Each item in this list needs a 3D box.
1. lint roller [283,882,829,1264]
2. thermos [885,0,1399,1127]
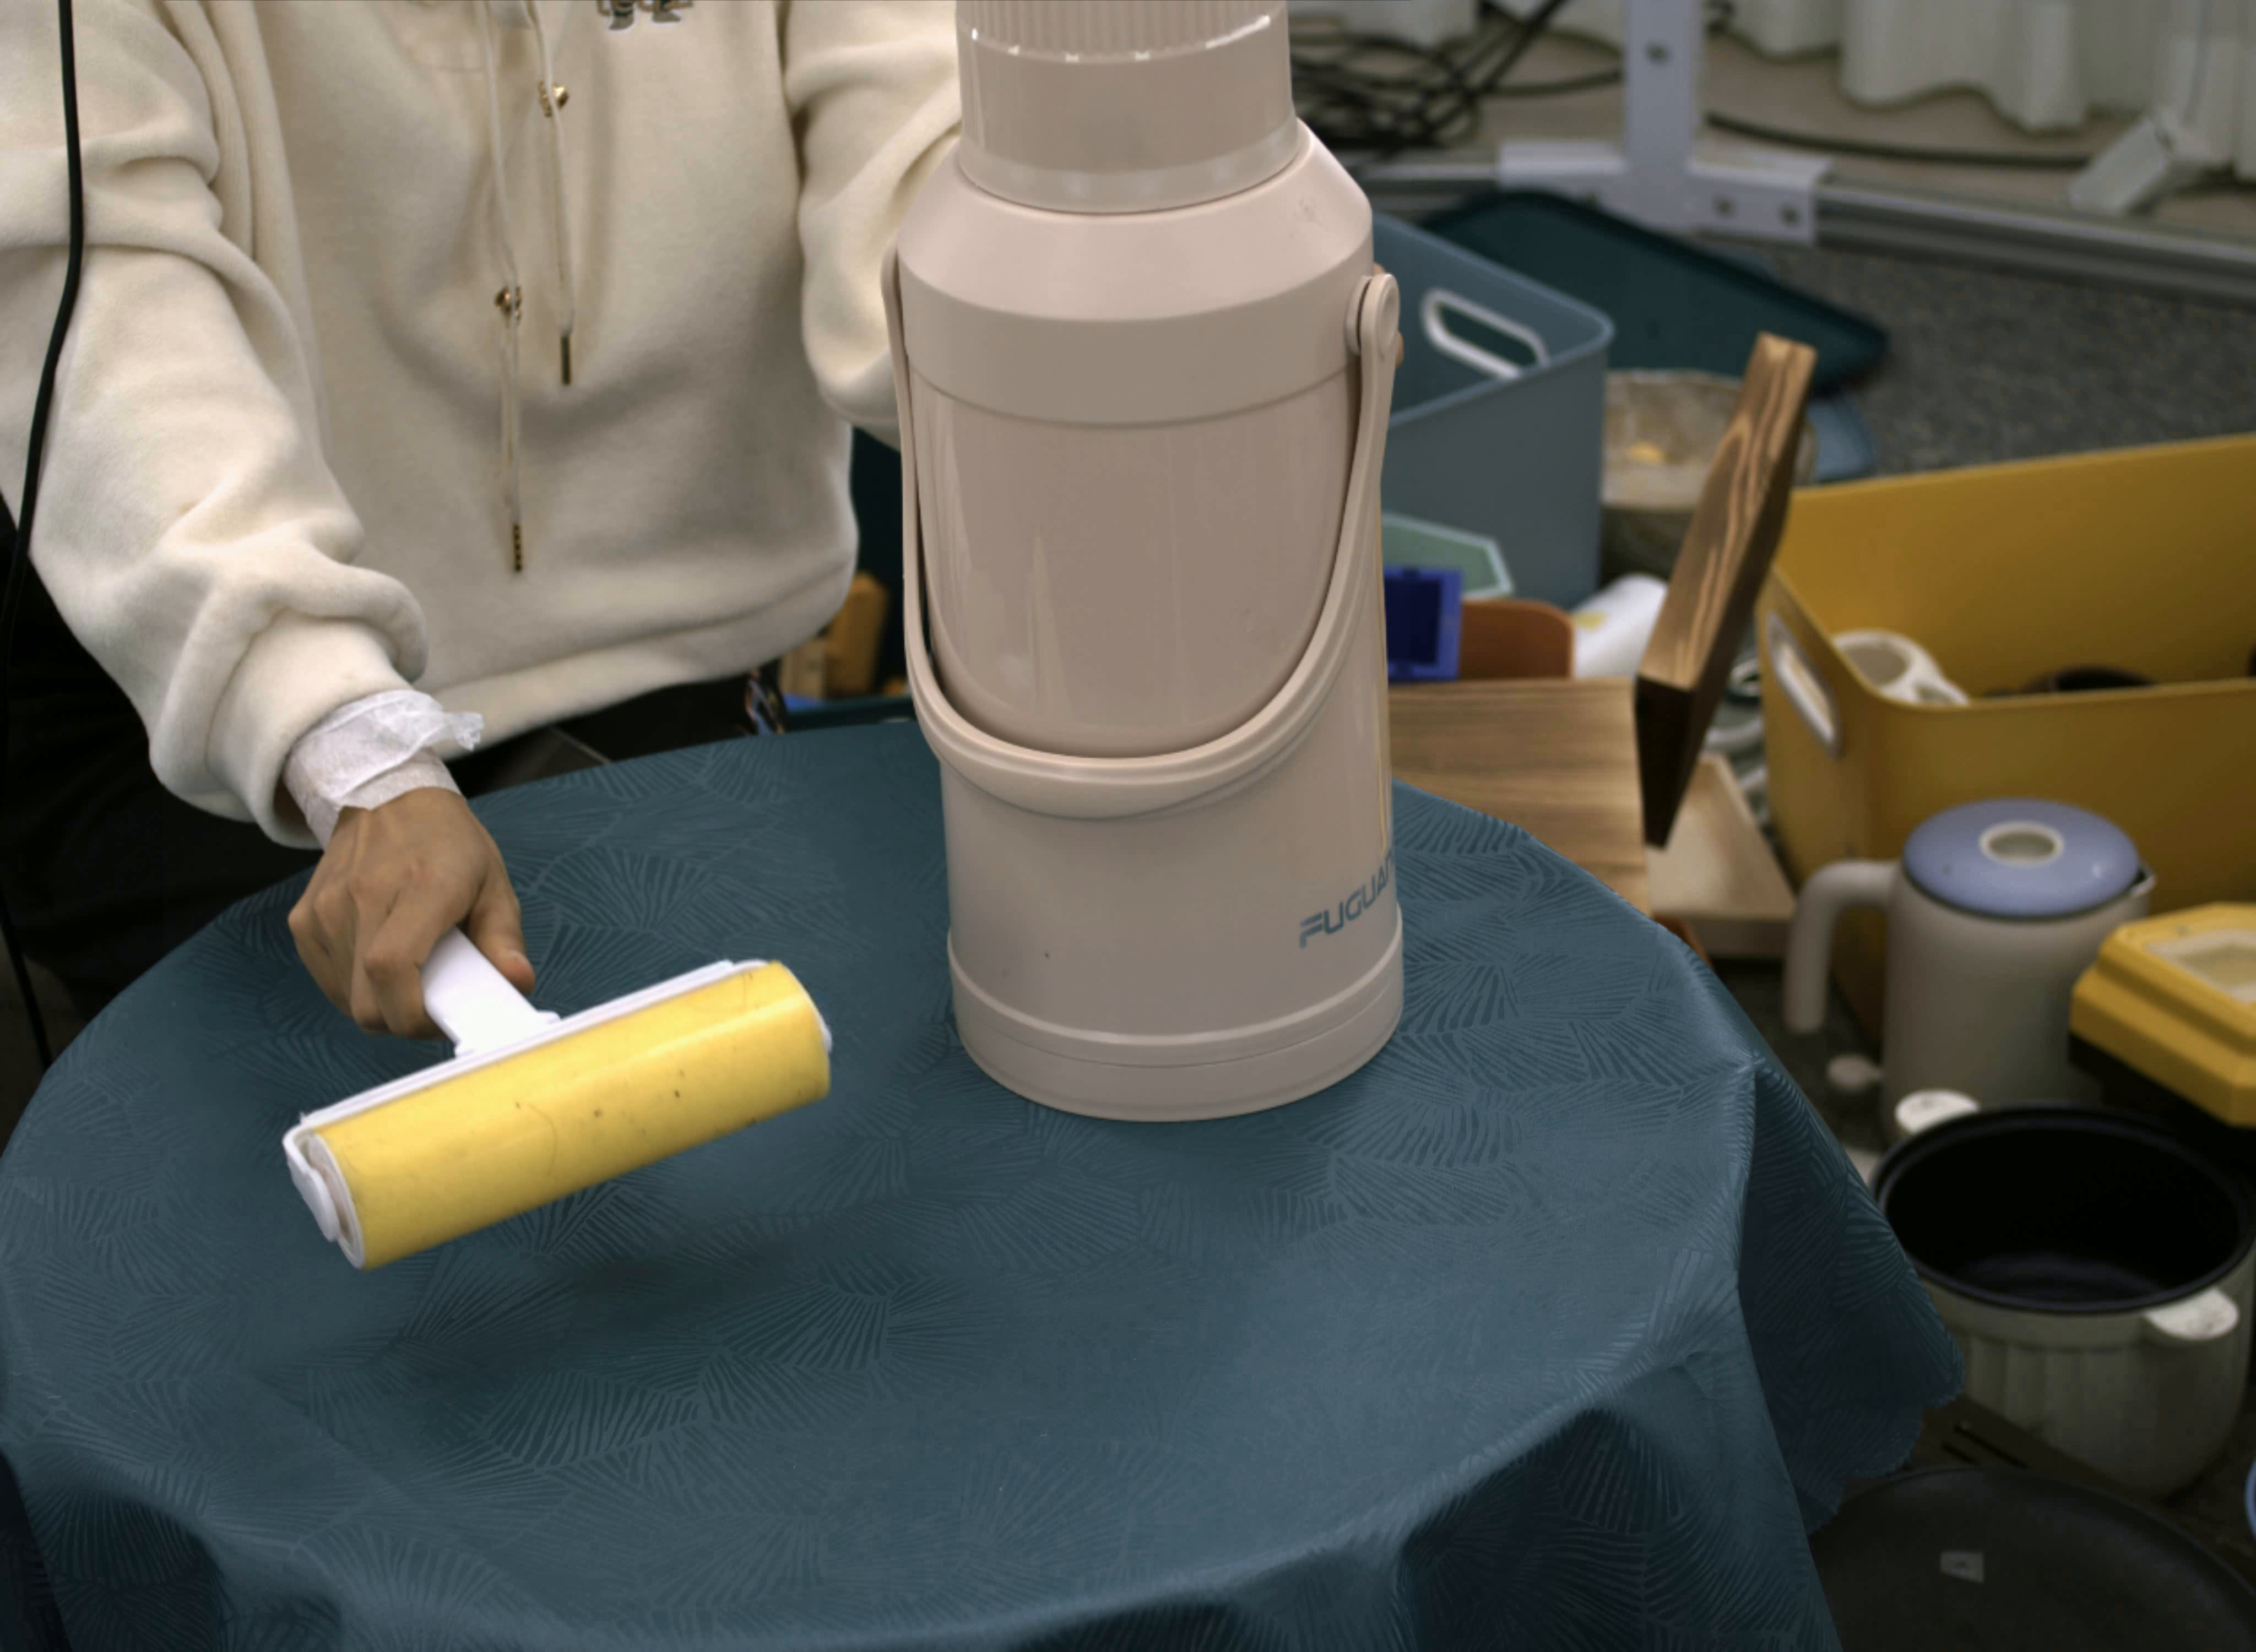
[{"bbox_3d":[-0.211,0.056,1.830,0.175,0.051,0.193,-20,39,-21],"label":"lint roller"},{"bbox_3d":[0.013,-0.116,1.894,0.174,0.402,0.210,7,28,20],"label":"thermos"}]
